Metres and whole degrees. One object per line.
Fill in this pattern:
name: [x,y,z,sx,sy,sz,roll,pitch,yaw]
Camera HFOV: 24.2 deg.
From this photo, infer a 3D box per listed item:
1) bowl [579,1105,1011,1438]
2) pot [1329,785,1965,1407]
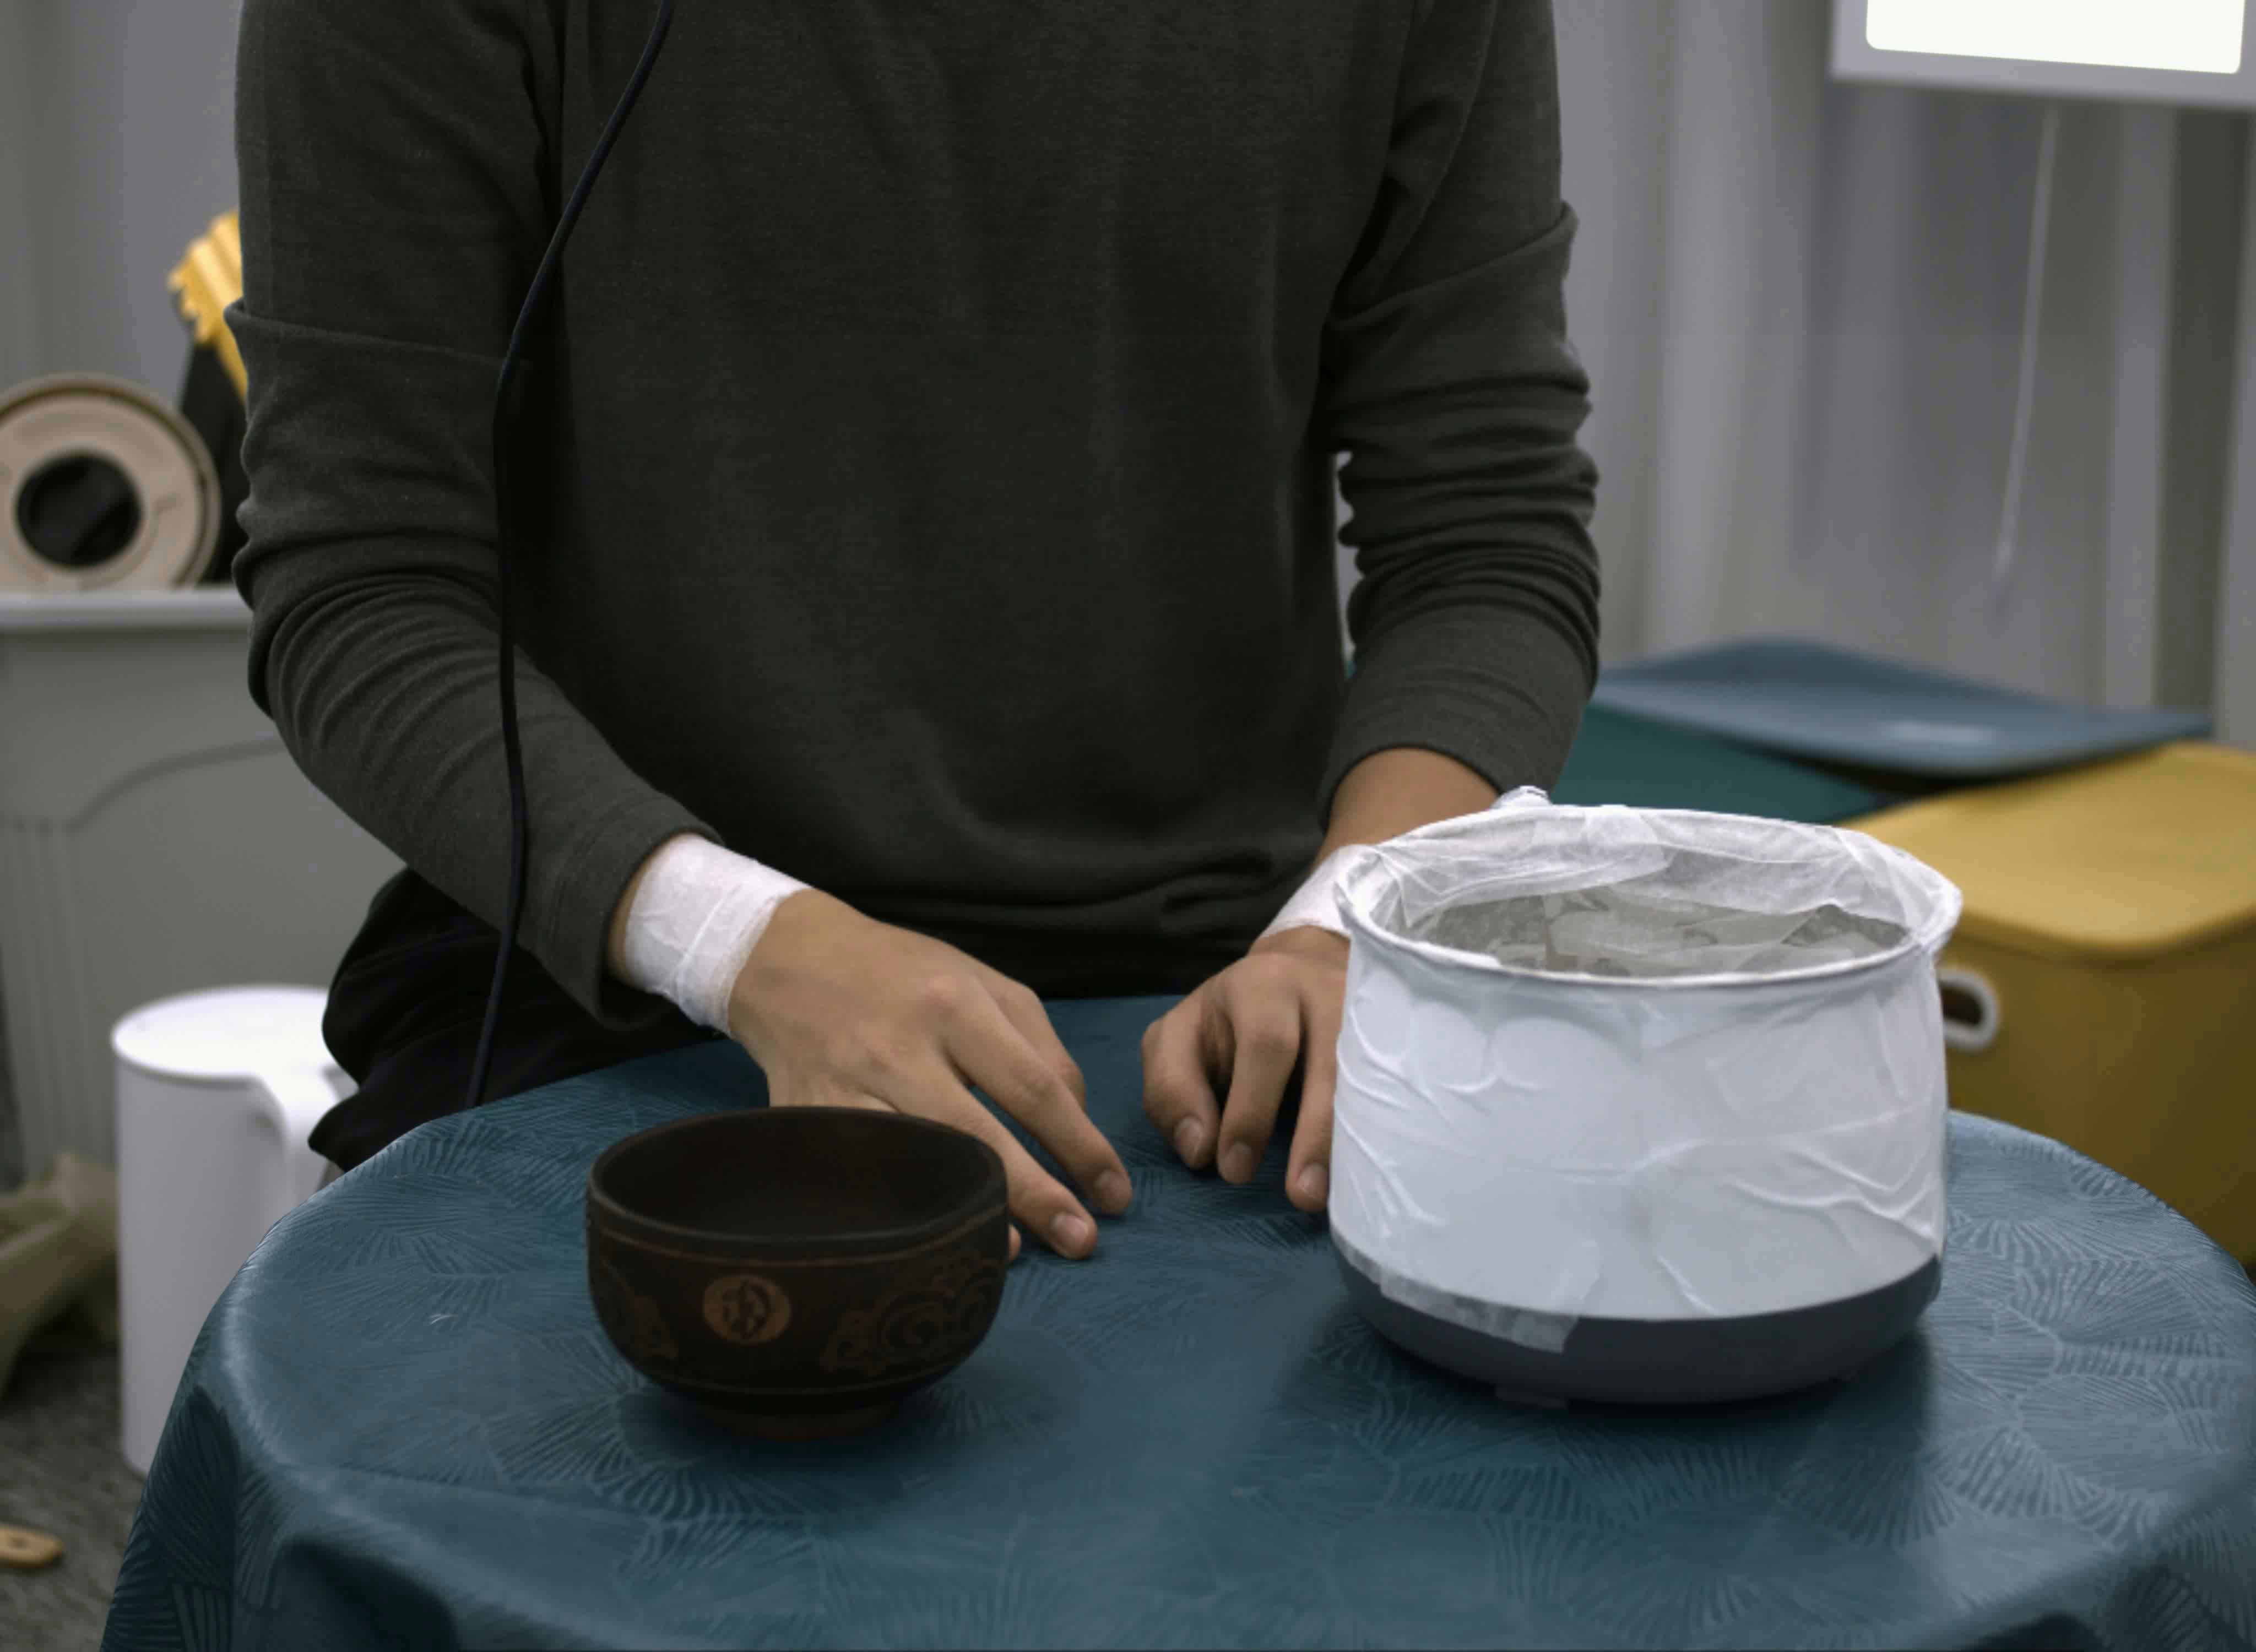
bowl: [-0.091,0.125,1.440,0.117,0.070,0.117,0,14,1]
pot: [0.137,0.072,1.520,0.179,0.137,0.231,-4,16,-17]
